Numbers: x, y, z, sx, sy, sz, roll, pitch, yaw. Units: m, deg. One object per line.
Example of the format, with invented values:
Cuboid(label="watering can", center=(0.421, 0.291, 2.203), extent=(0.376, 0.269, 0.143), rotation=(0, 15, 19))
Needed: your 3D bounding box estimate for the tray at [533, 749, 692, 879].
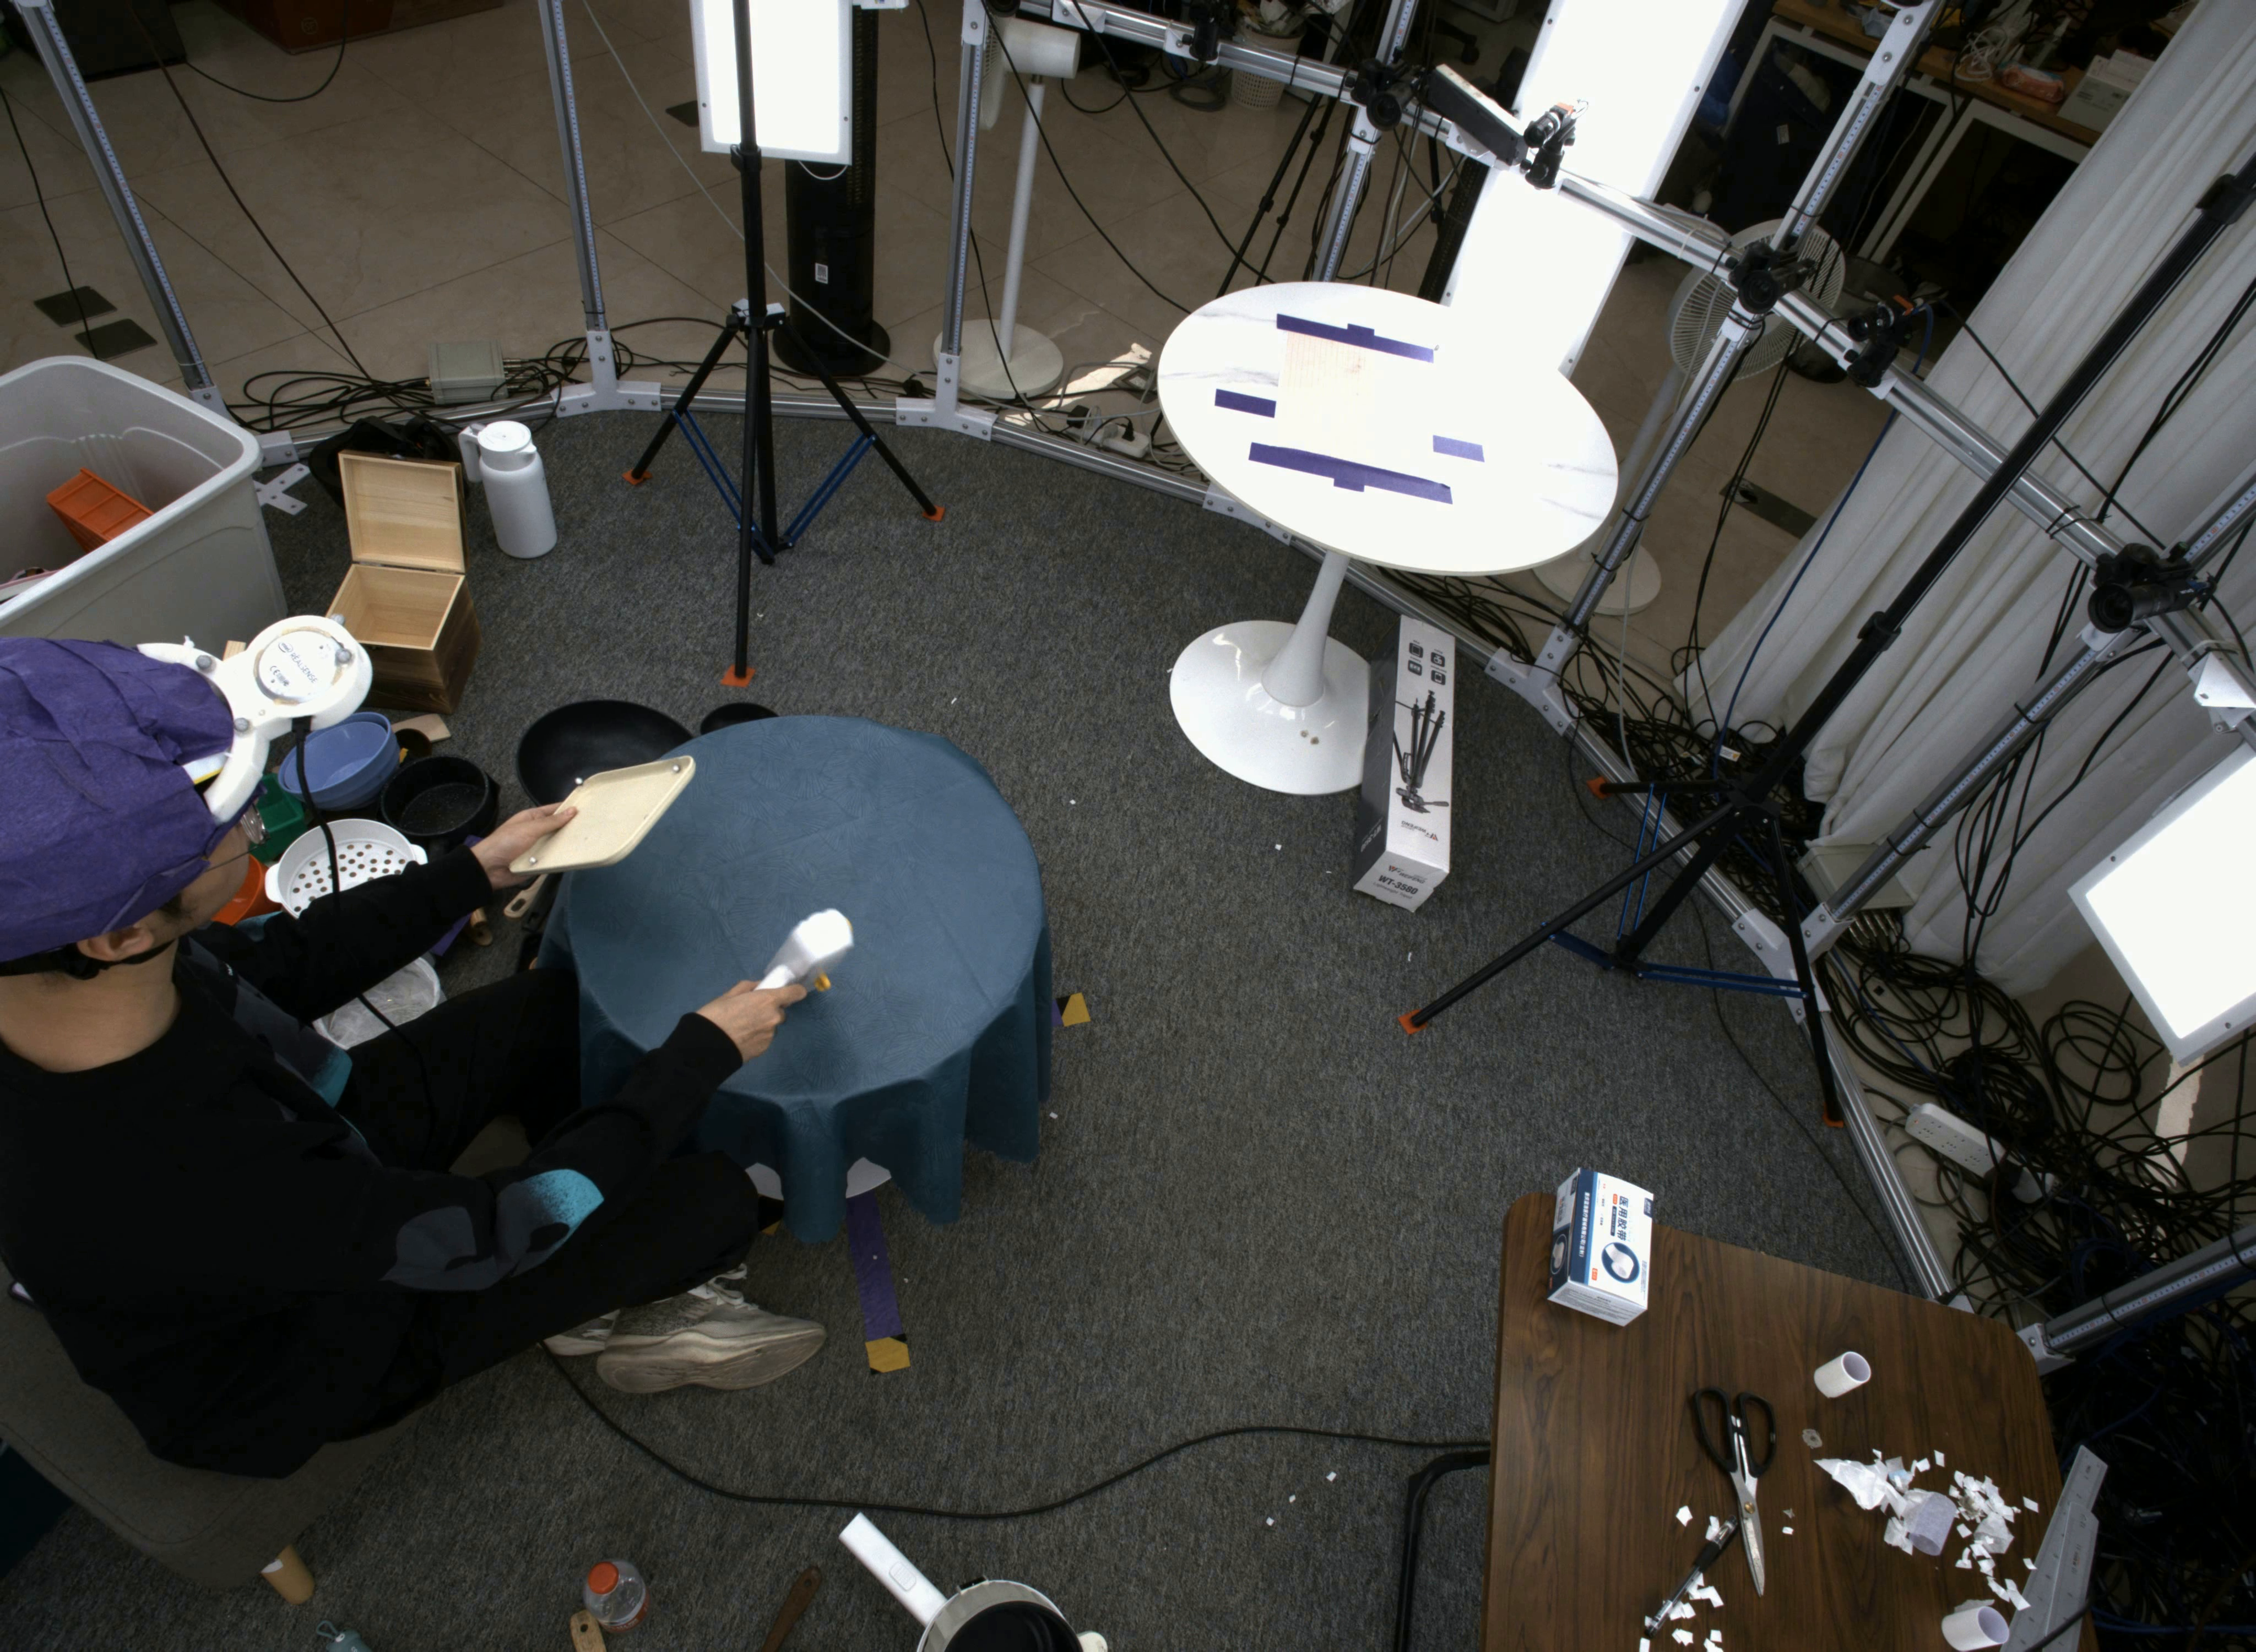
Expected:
Cuboid(label="tray", center=(-0.608, -0.013, 1.482), extent=(0.232, 0.018, 0.170), rotation=(-7, 43, 36))

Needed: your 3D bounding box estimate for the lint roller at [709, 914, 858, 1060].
Cuboid(label="lint roller", center=(-0.402, 0.184, 1.466), extent=(0.193, 0.191, 0.075), rotation=(-35, 92, -32))
